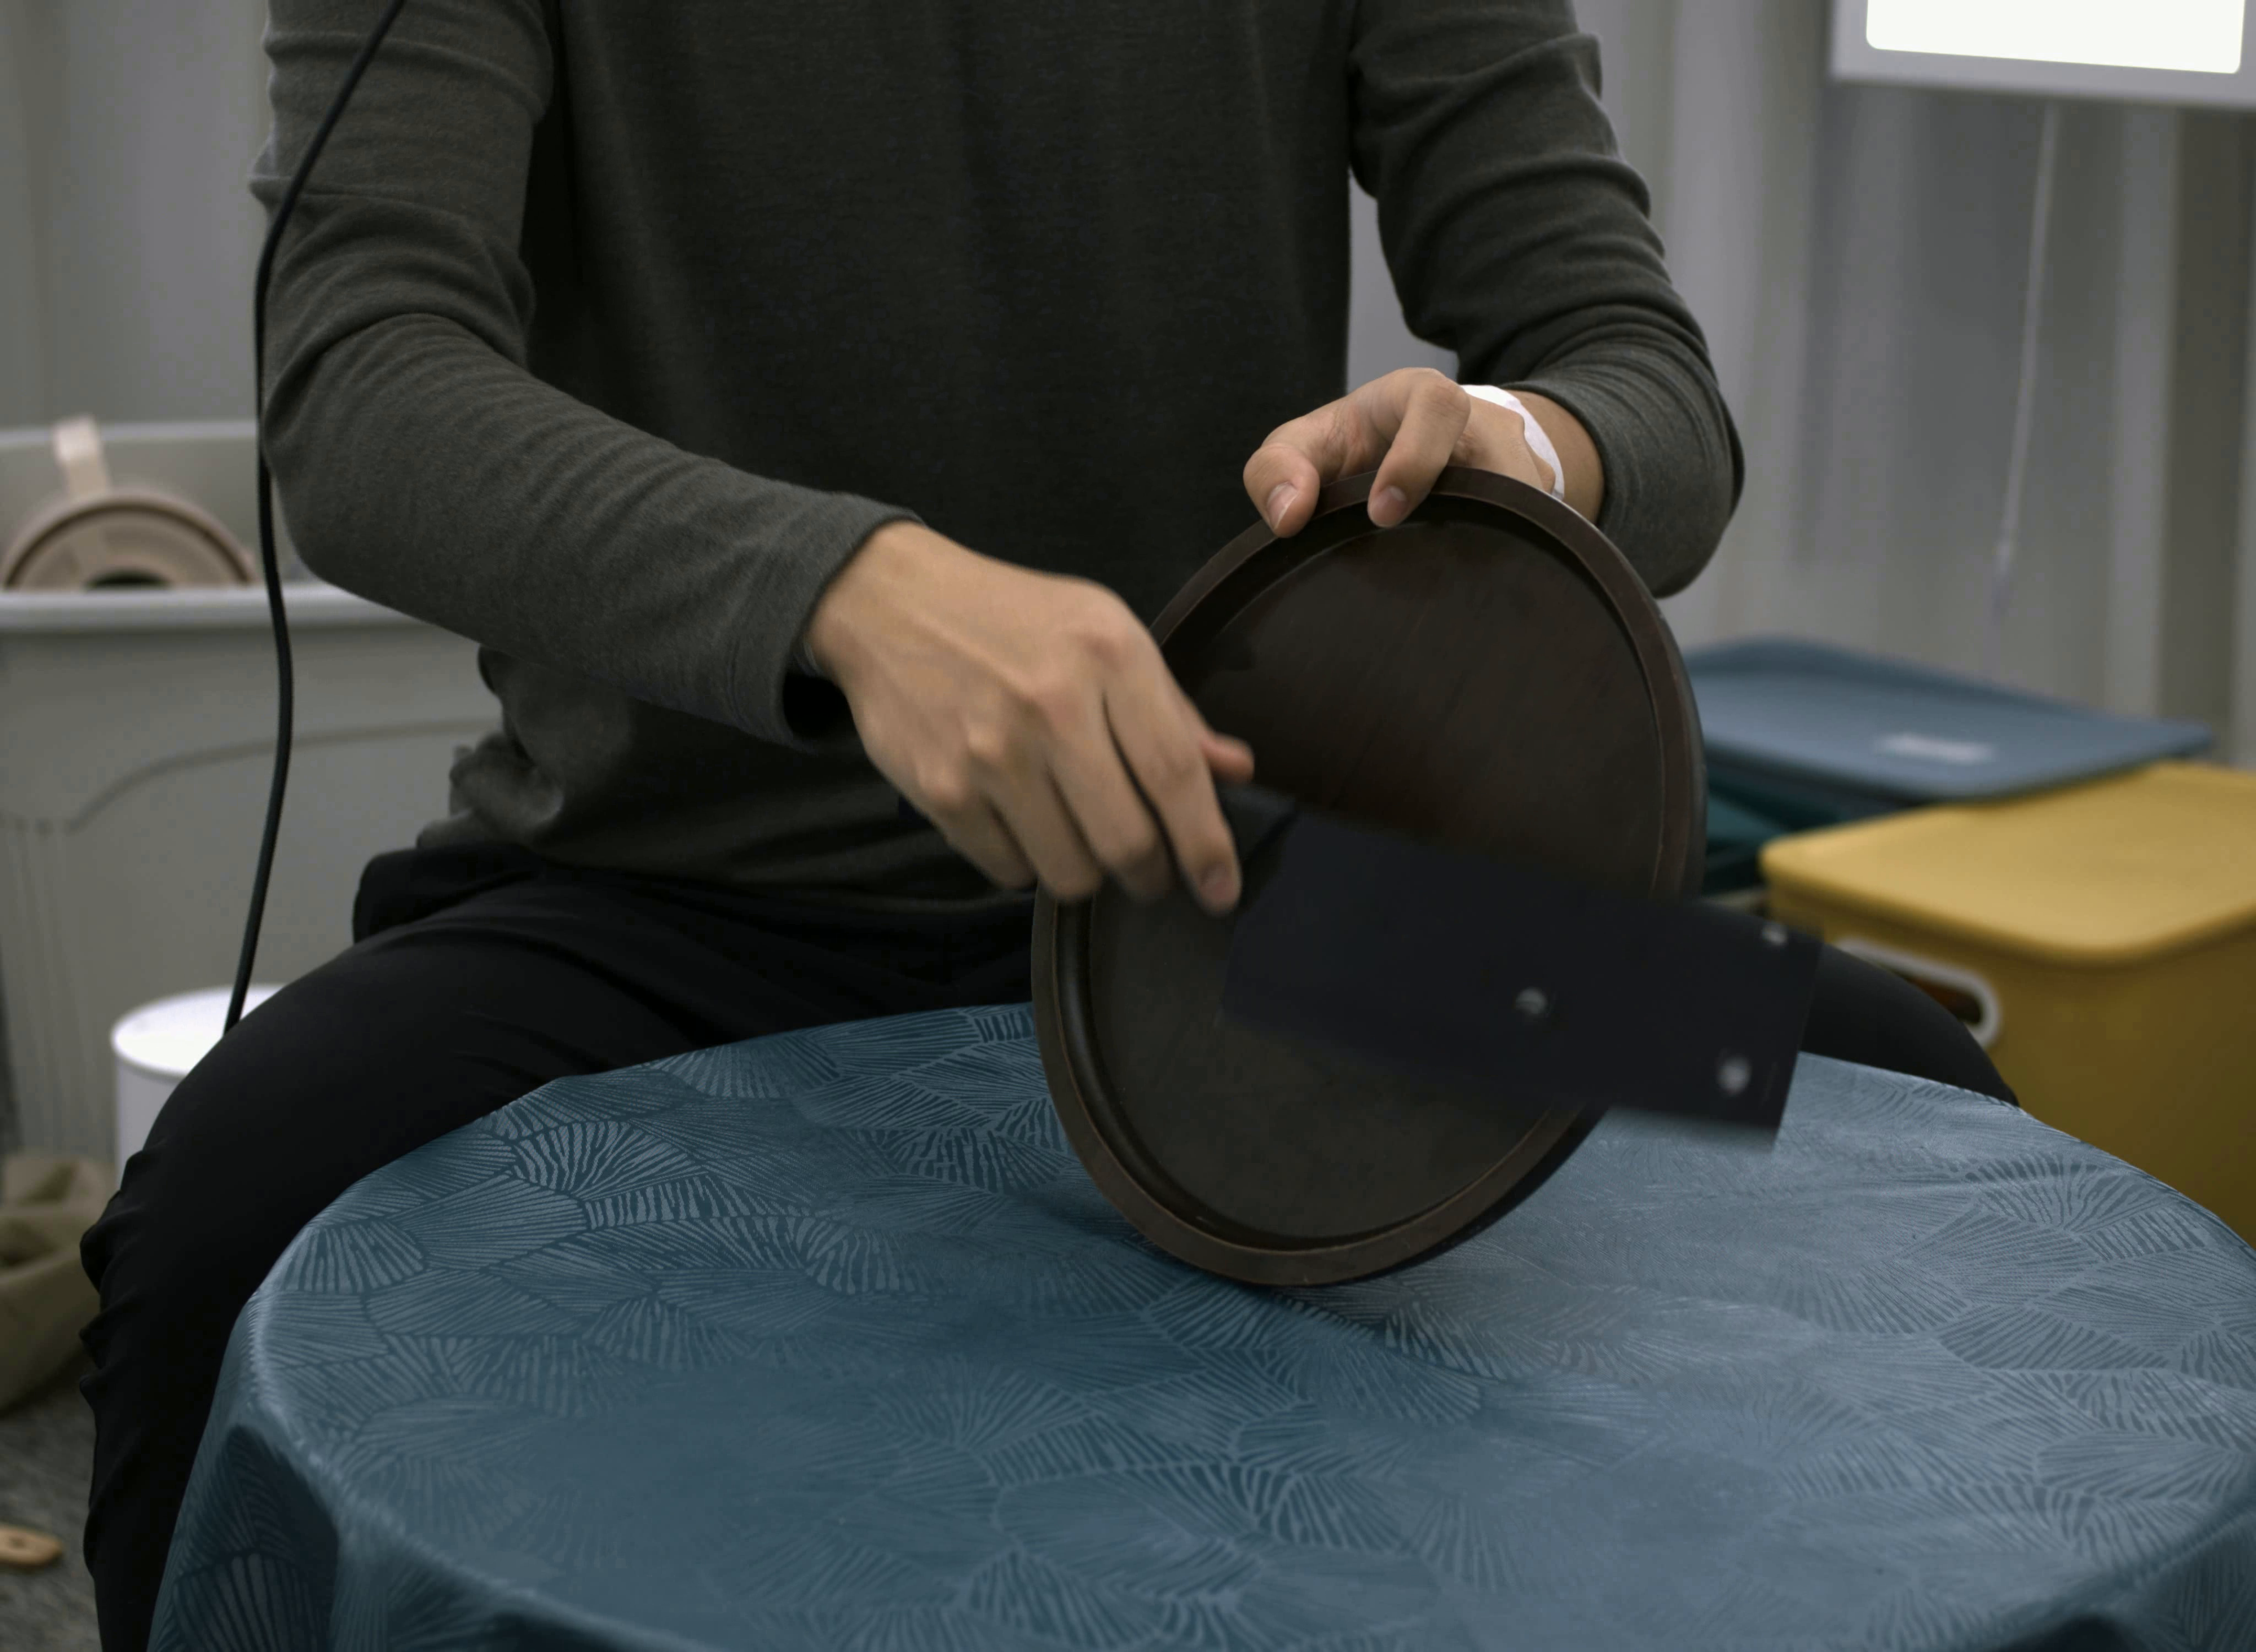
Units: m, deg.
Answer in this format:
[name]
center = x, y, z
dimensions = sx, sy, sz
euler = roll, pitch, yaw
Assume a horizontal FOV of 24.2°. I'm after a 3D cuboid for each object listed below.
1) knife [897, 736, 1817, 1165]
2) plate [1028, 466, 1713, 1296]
[knife]
center = 0.058, 0.030, 1.508
dimensions = 0.298, 0.081, 0.021
euler = 20, 3, 30
[plate]
center = 0.070, 0.016, 1.560
dimensions = 0.251, 0.255, 0.029
euler = 17, -2, 44
